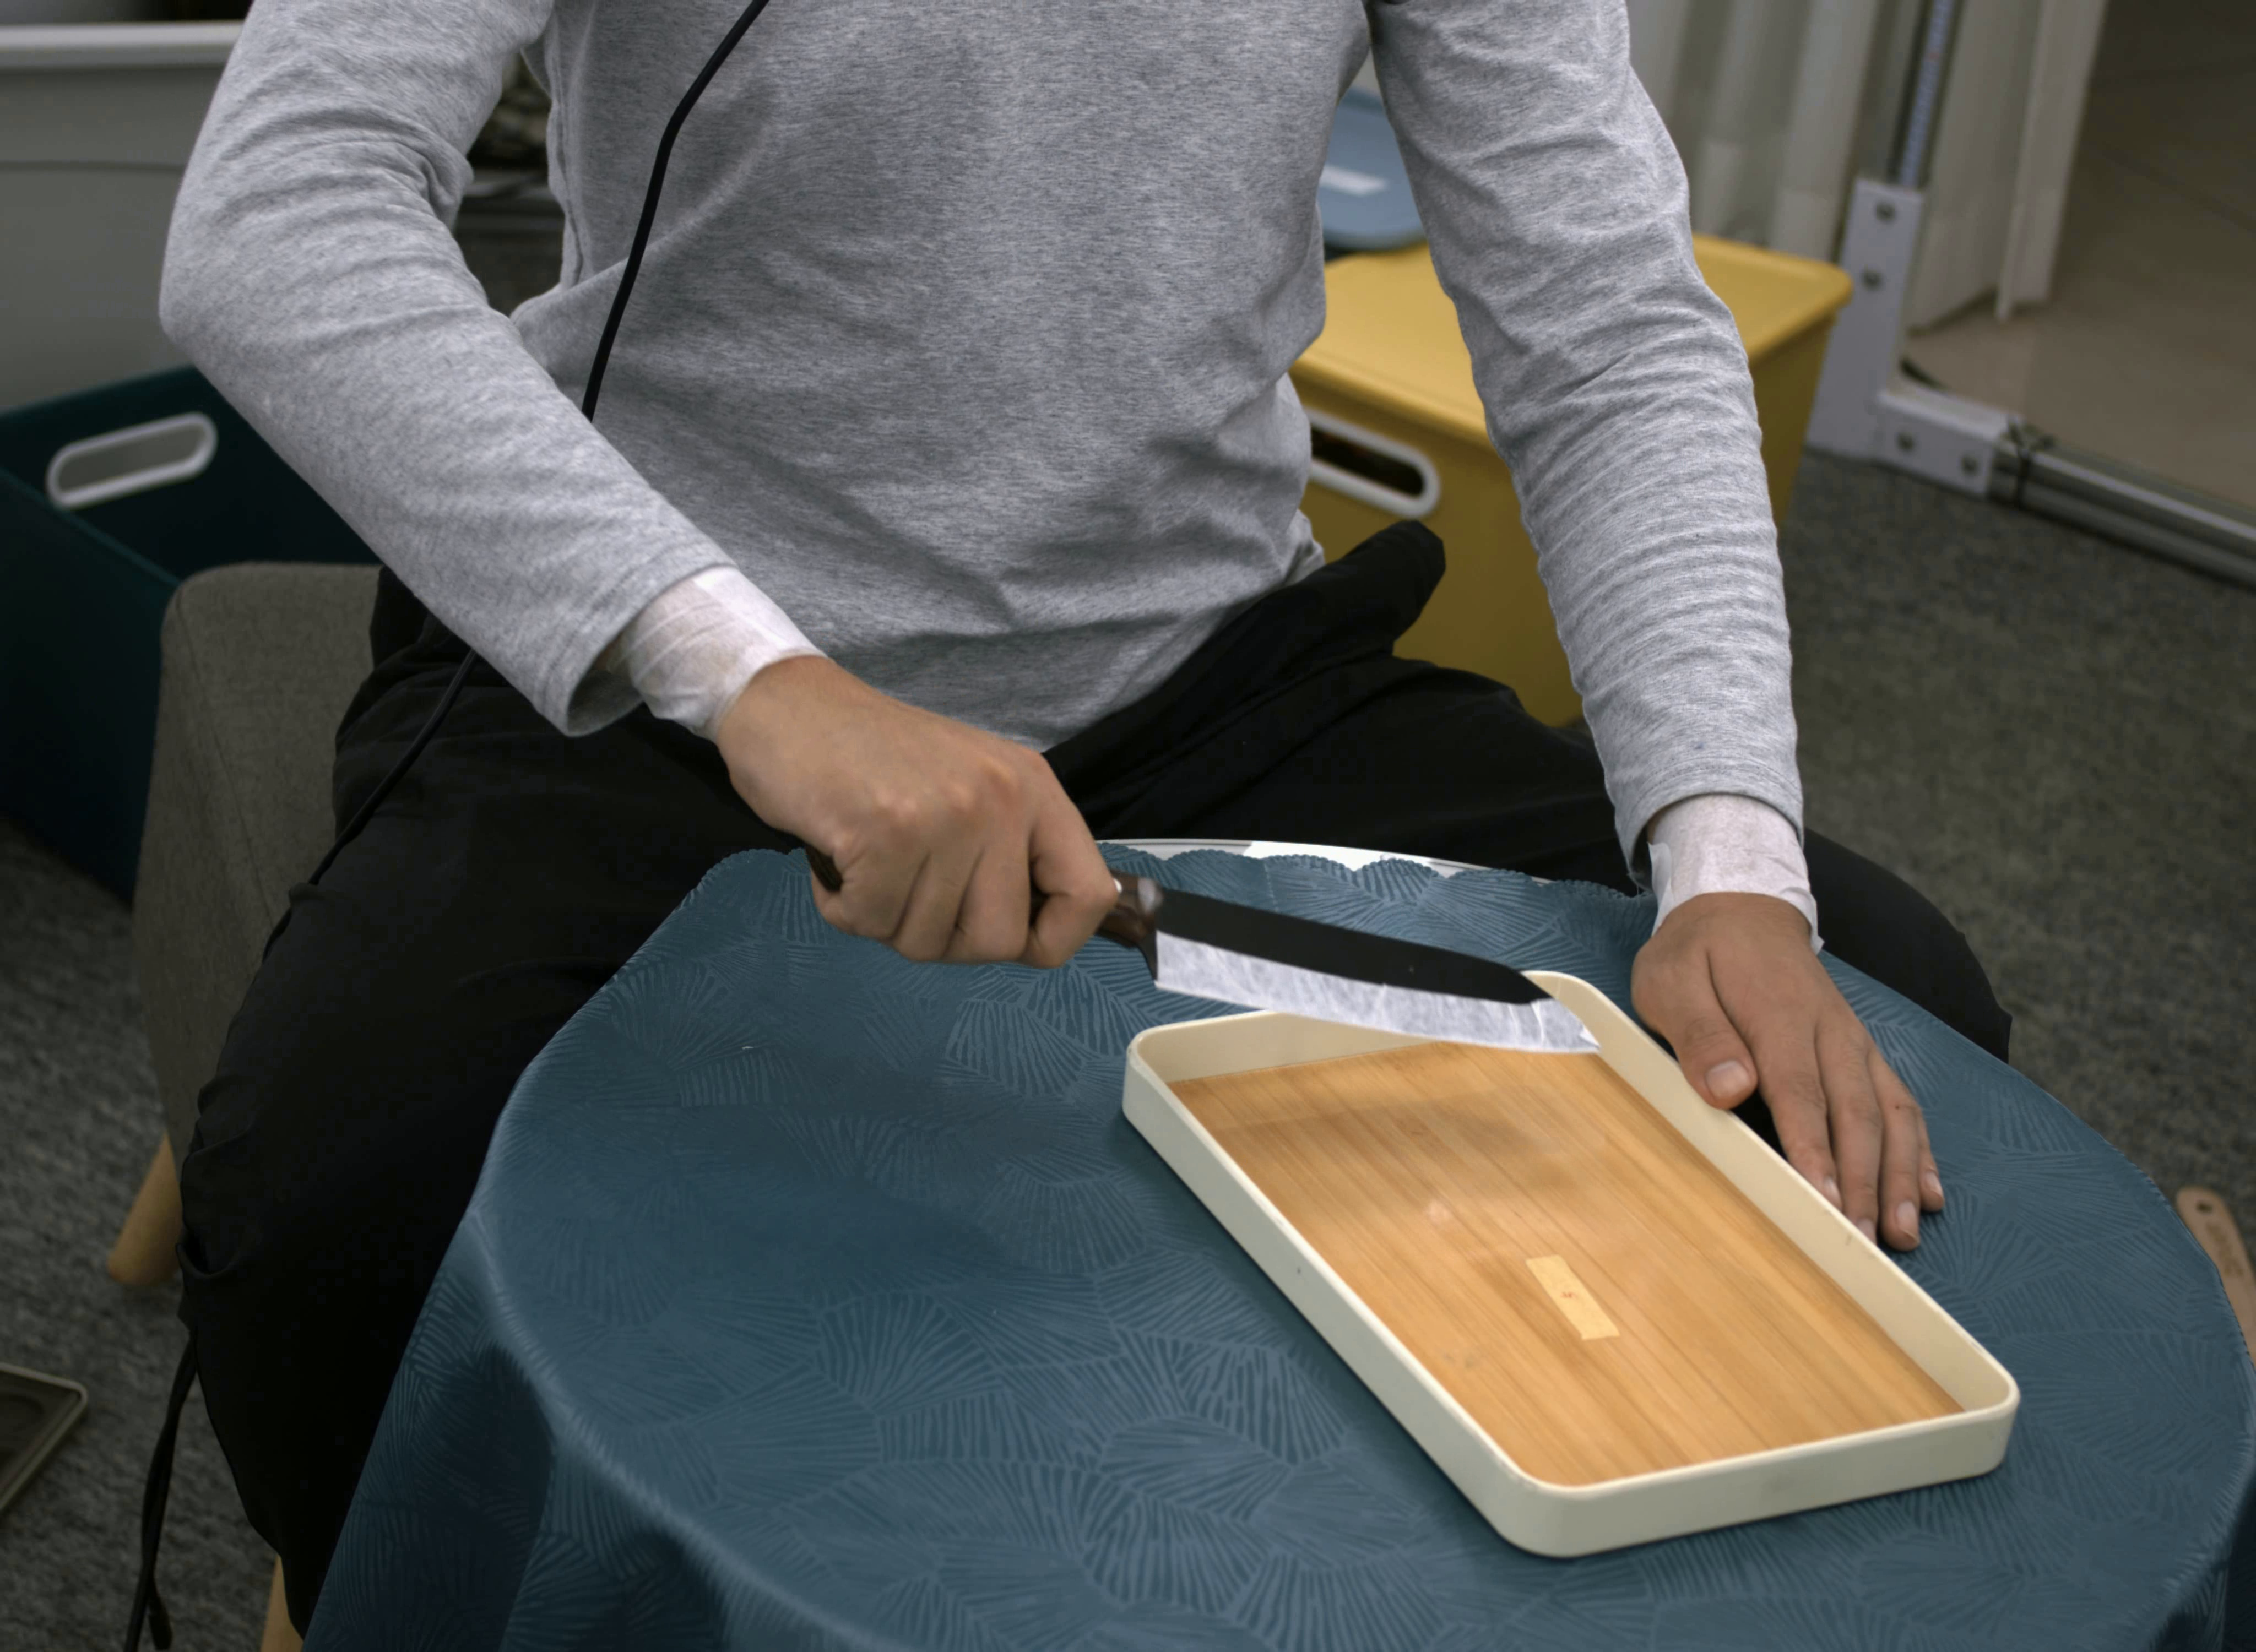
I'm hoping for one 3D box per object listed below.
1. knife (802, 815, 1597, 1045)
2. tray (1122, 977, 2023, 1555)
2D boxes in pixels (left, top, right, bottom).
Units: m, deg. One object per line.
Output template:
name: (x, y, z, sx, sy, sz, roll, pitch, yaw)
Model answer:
knife: (0.027, 0.037, 1.797, 0.287, 0.020, 0.050, 14, 48, -15)
tray: (0.142, 0.140, 1.778, 0.190, 0.027, 0.303, -7, 29, -26)
